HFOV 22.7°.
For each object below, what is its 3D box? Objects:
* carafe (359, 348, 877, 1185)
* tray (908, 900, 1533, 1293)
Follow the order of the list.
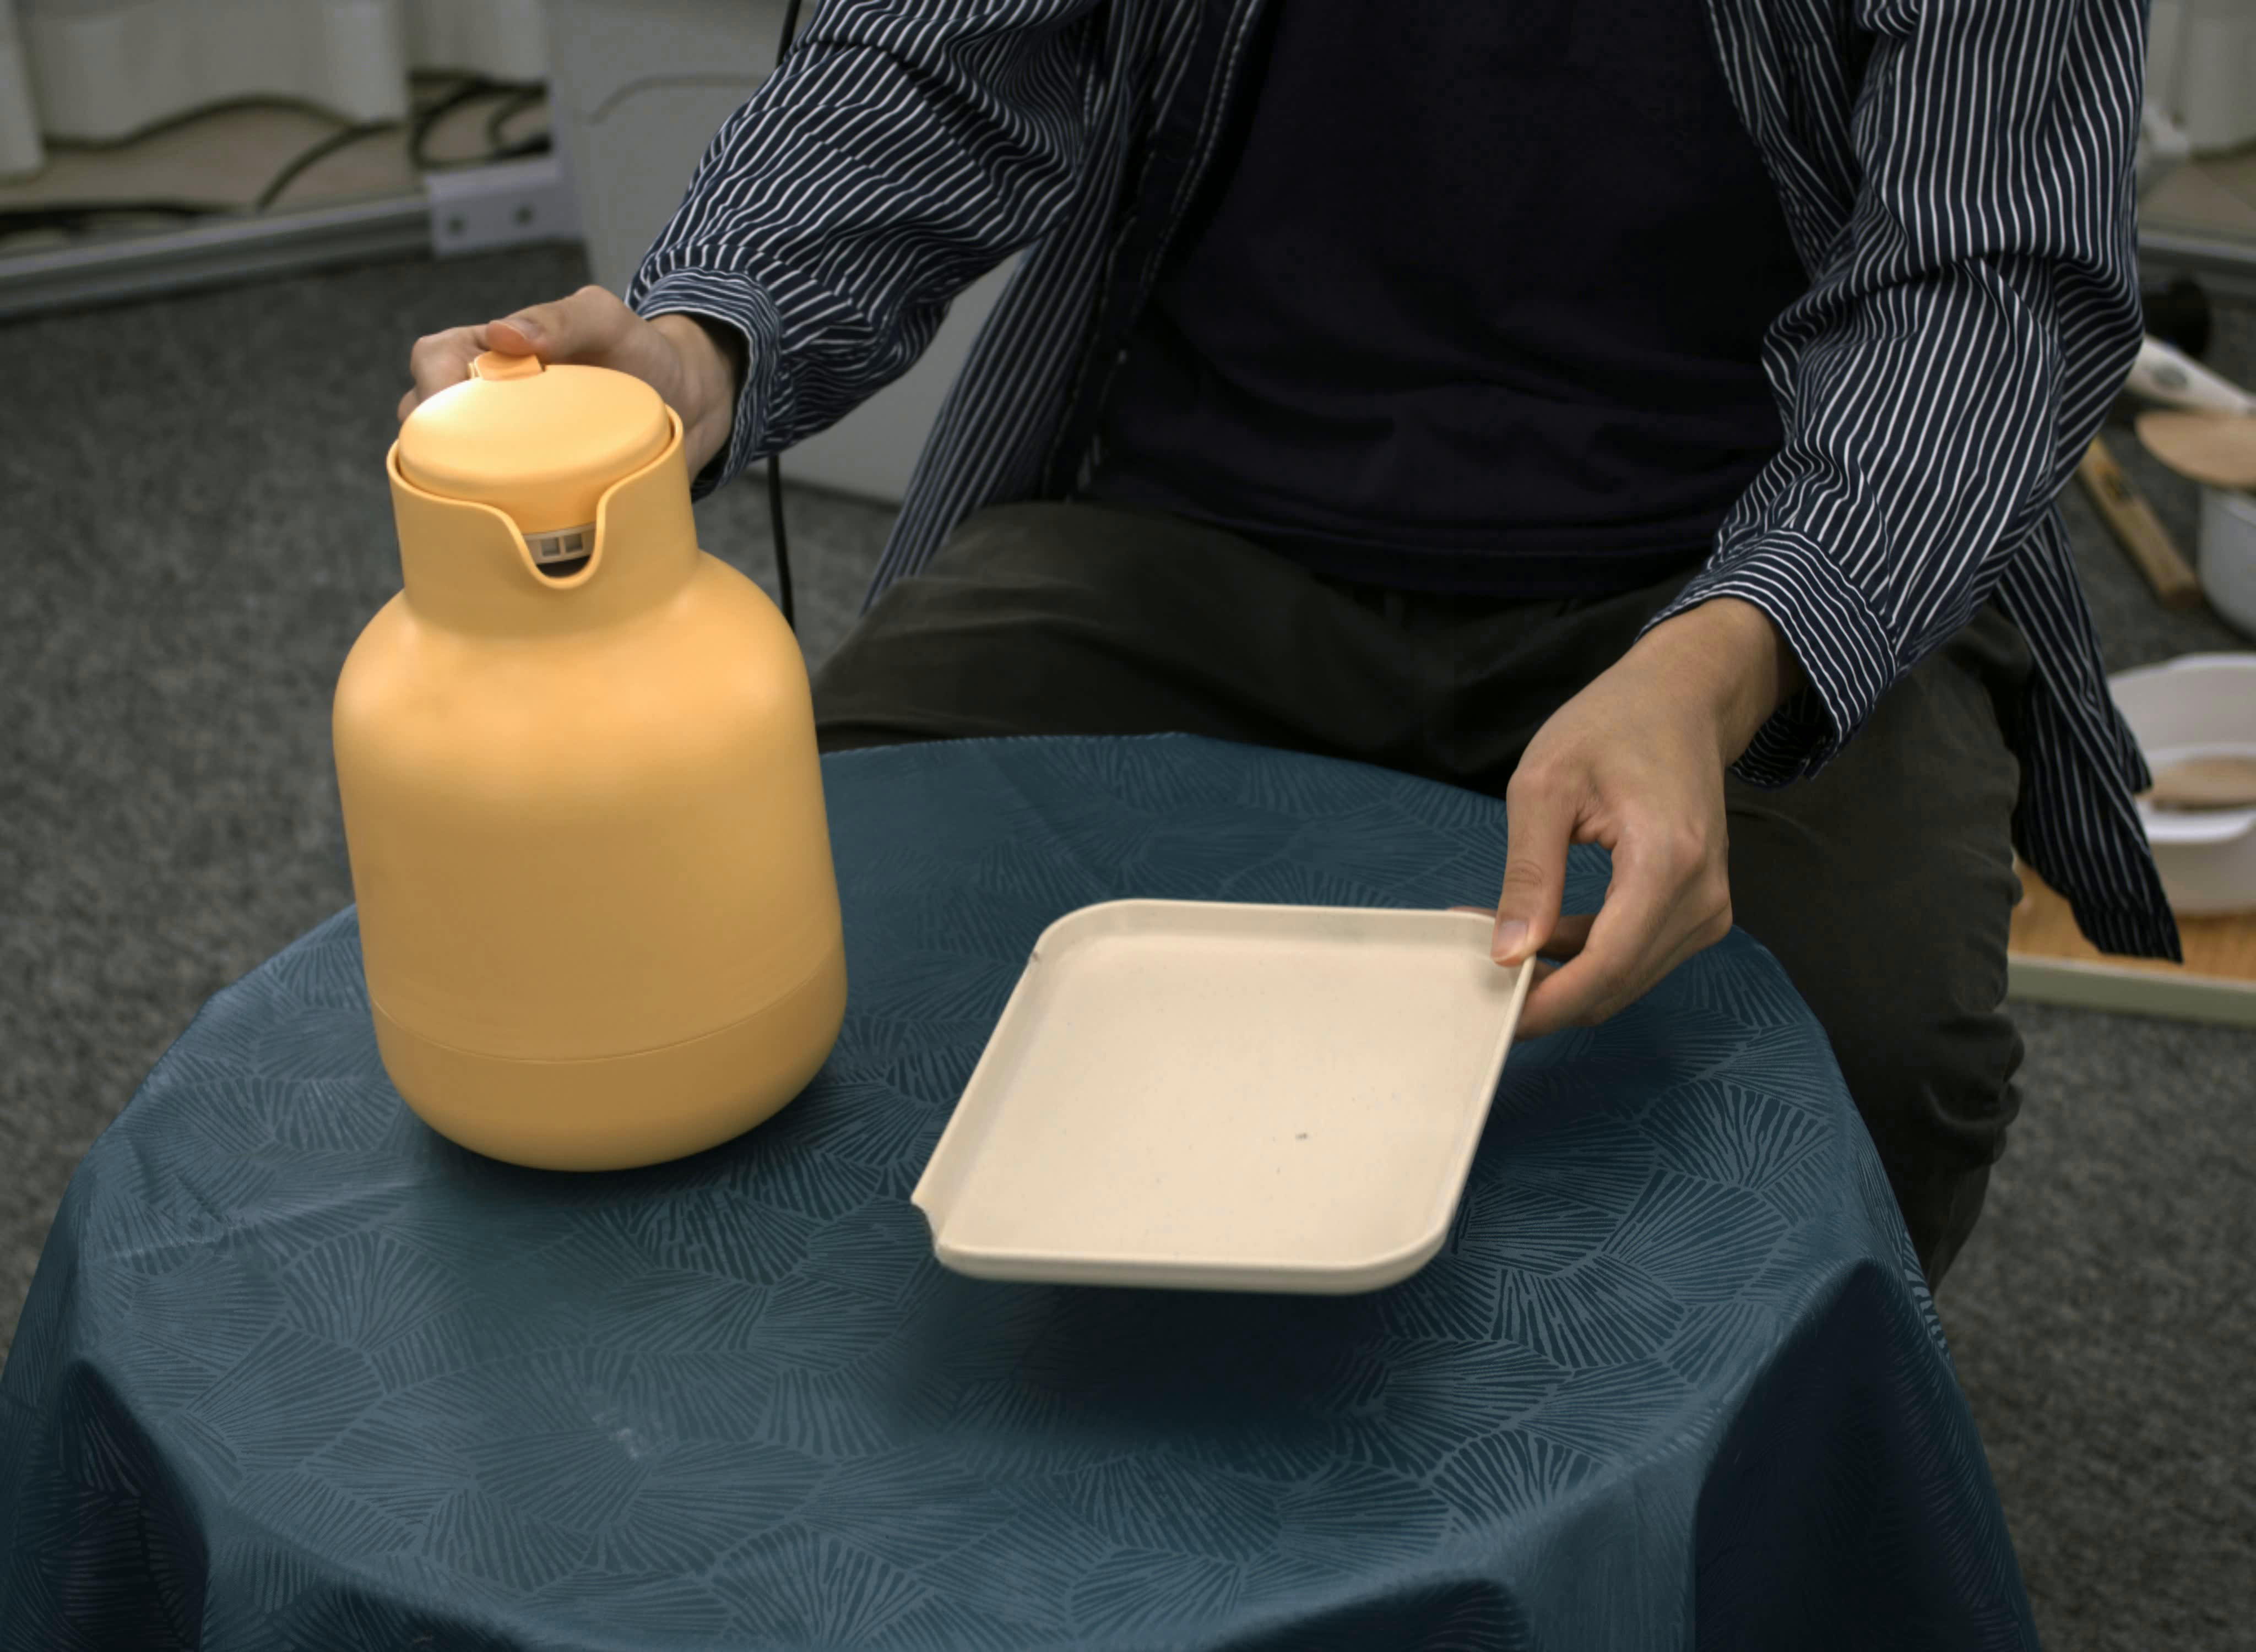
[{"bbox_3d":[-0.176,-0.030,1.884,0.163,0.258,0.204,-9,27,-12],"label":"carafe"},{"bbox_3d":[0.033,0.085,1.796,0.170,0.017,0.243,2,26,12],"label":"tray"}]
